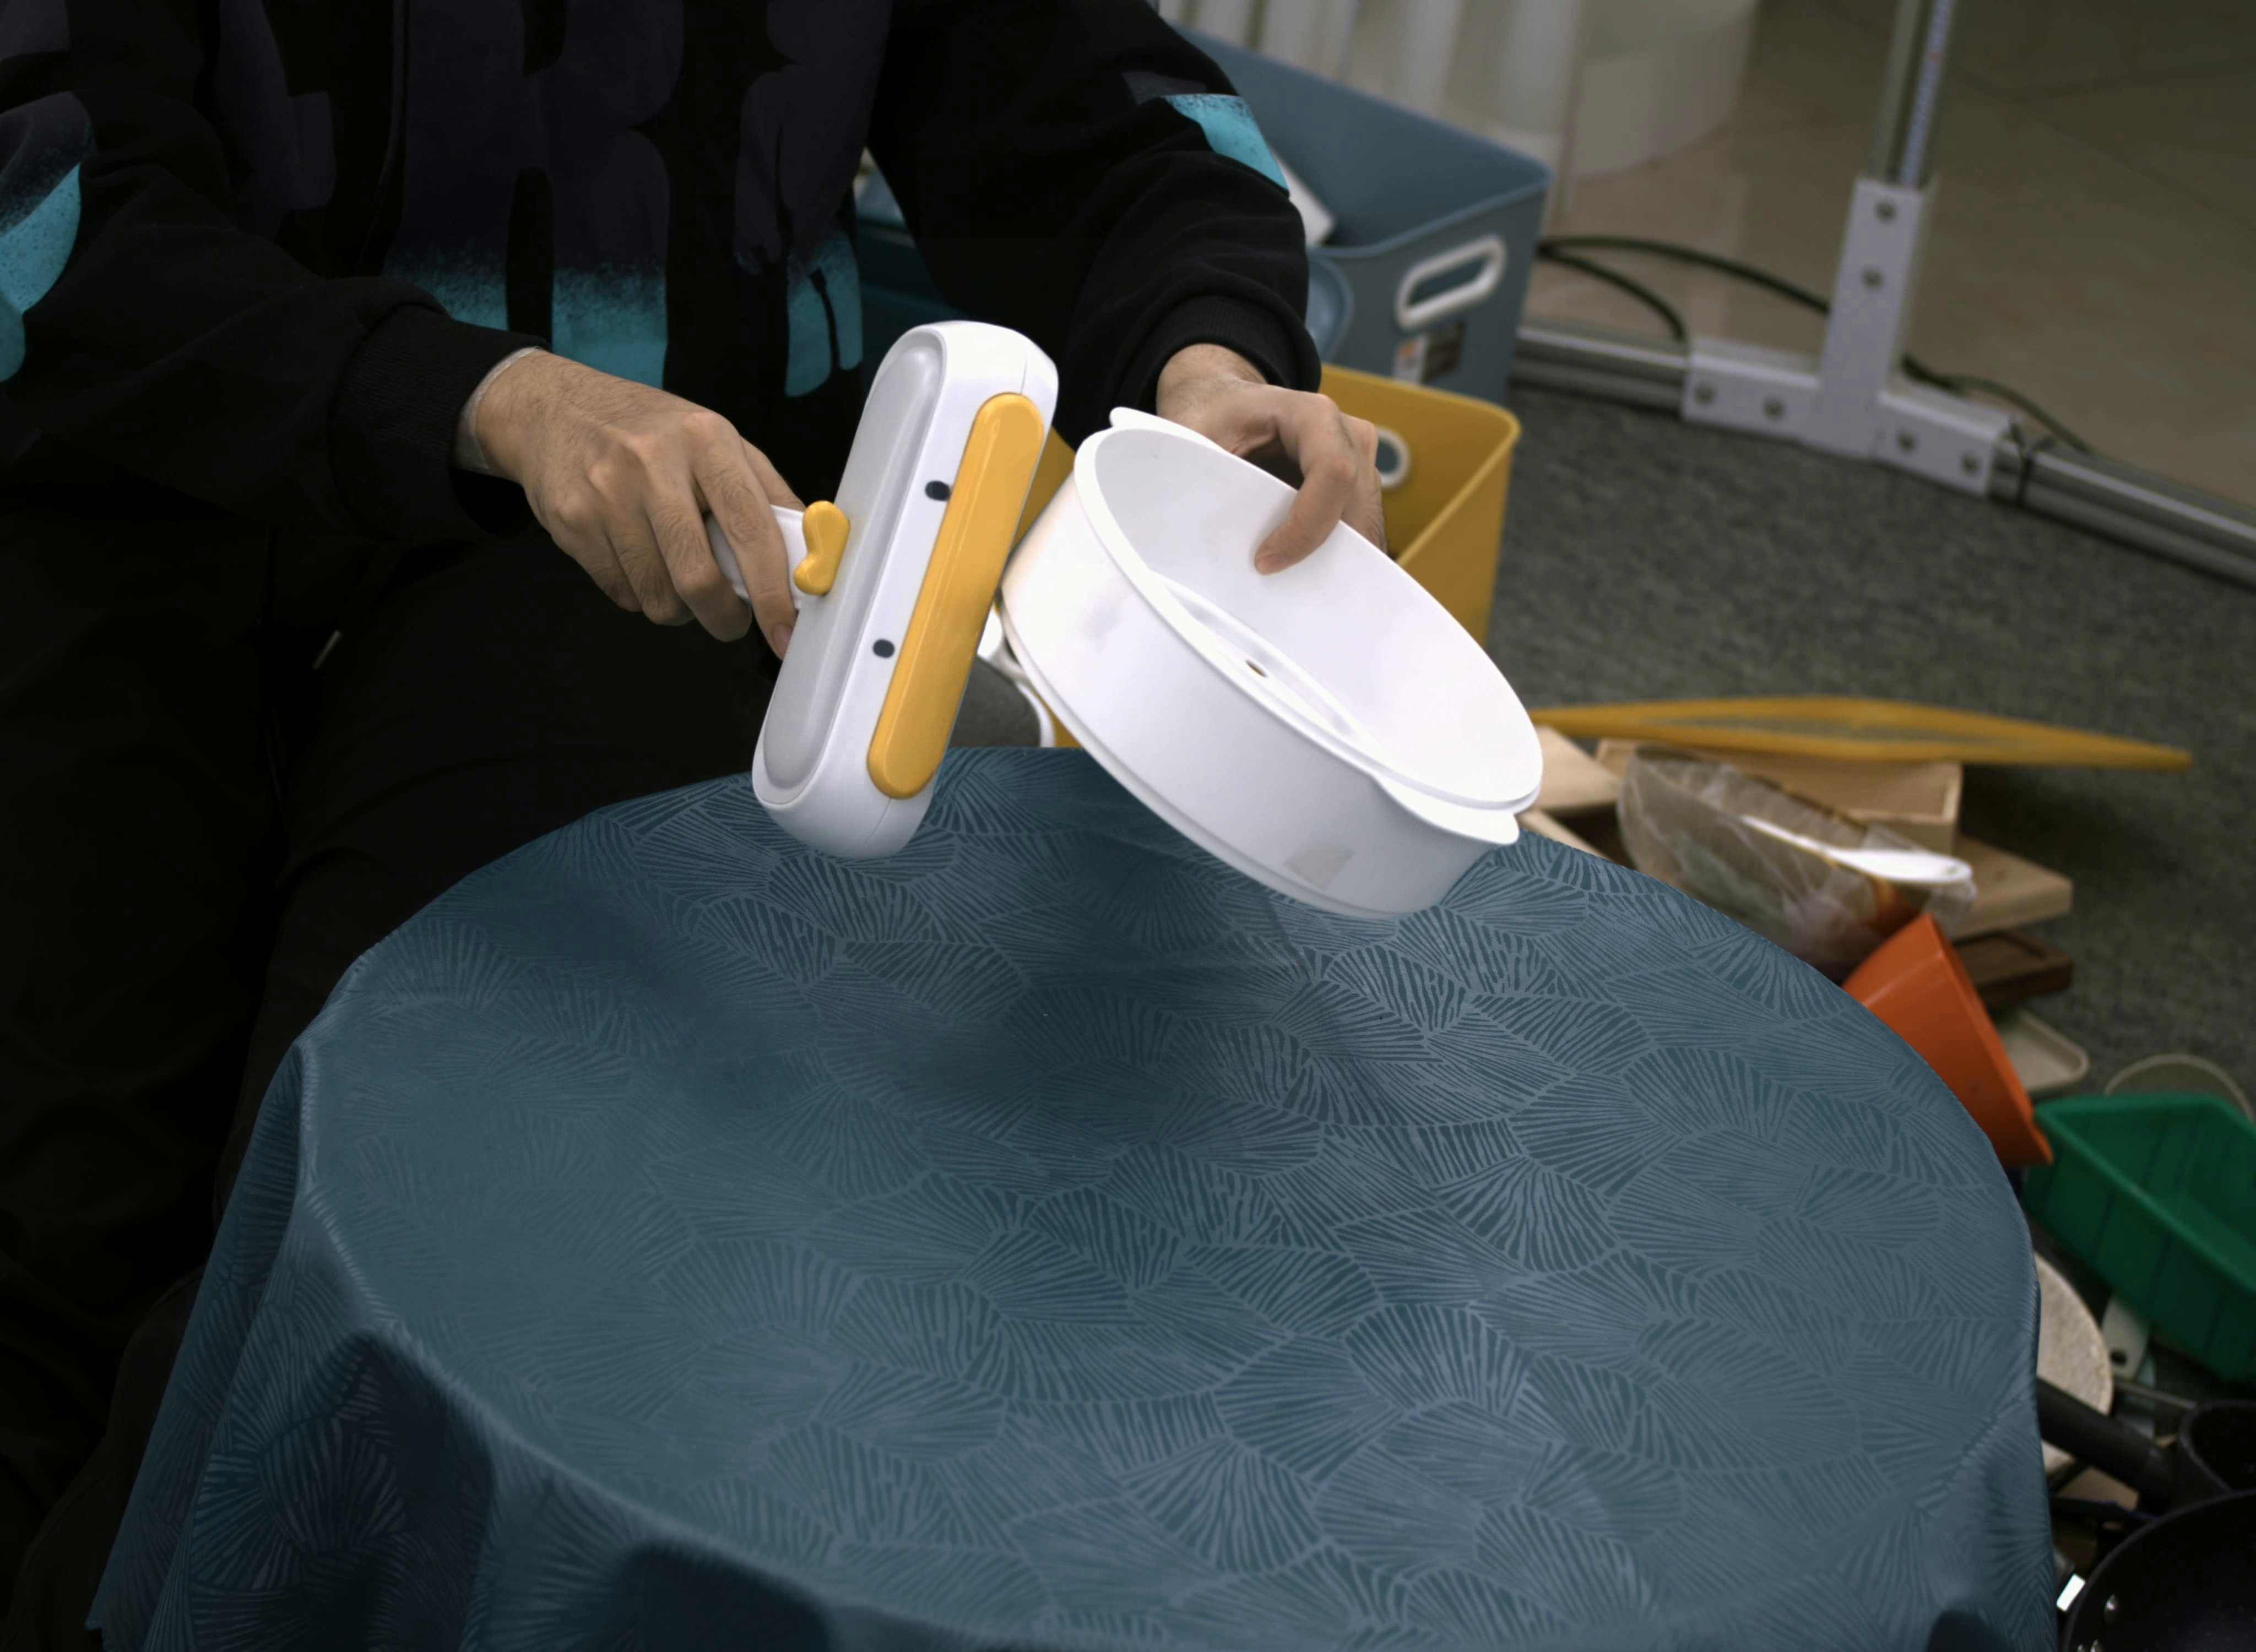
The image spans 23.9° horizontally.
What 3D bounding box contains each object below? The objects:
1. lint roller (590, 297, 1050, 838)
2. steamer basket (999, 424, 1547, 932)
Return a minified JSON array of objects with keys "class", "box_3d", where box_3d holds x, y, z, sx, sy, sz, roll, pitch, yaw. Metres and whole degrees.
[{"class":"lint roller","box_3d":[-0.117,-0.096,1.893,0.073,0.193,0.193,16,-6,-37]},{"class":"steamer basket","box_3d":[0.048,-0.048,1.849,0.200,0.069,0.233,17,28,-46]}]
